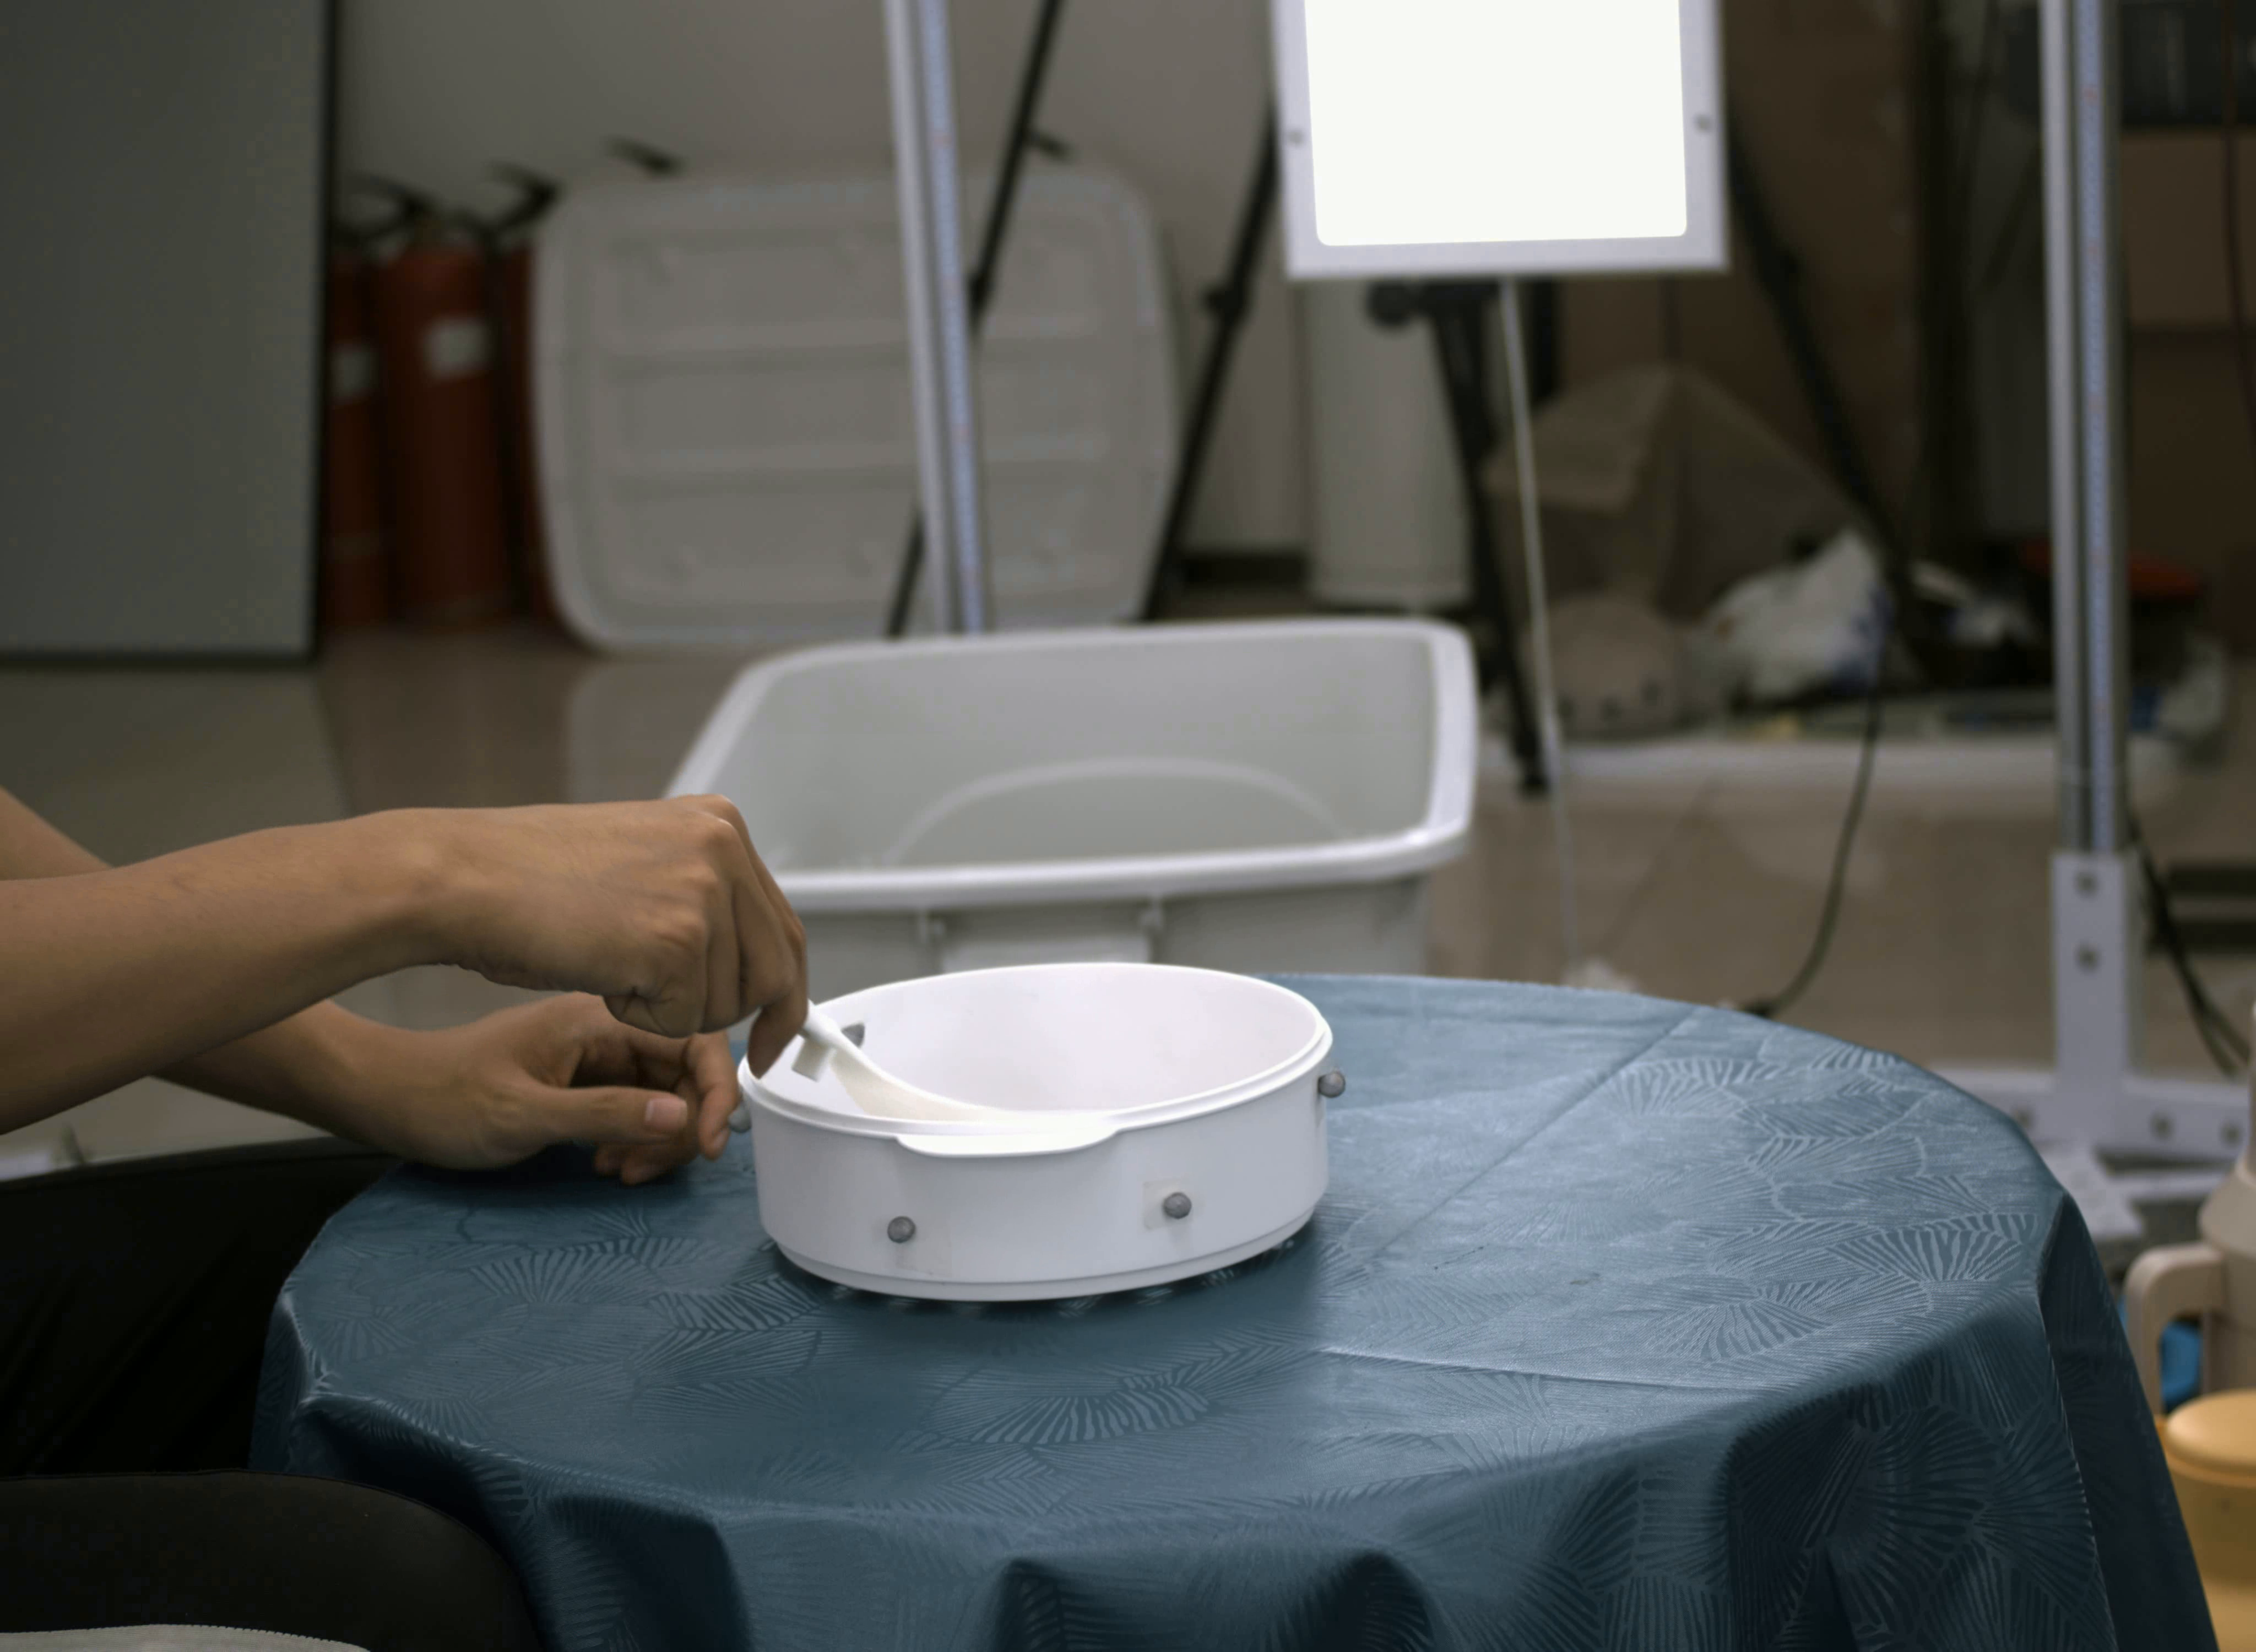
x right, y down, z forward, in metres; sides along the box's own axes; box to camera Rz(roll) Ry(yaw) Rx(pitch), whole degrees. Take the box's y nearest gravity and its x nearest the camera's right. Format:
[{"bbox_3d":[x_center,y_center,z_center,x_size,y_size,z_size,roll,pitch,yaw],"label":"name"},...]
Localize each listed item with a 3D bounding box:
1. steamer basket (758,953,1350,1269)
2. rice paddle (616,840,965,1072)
[{"bbox_3d":[-0.023,0.097,1.869,0.202,0.069,0.229,-3,11,7],"label":"steamer basket"},{"bbox_3d":[-0.093,0.059,1.810,0.070,0.029,0.201,19,-12,44],"label":"rice paddle"}]
